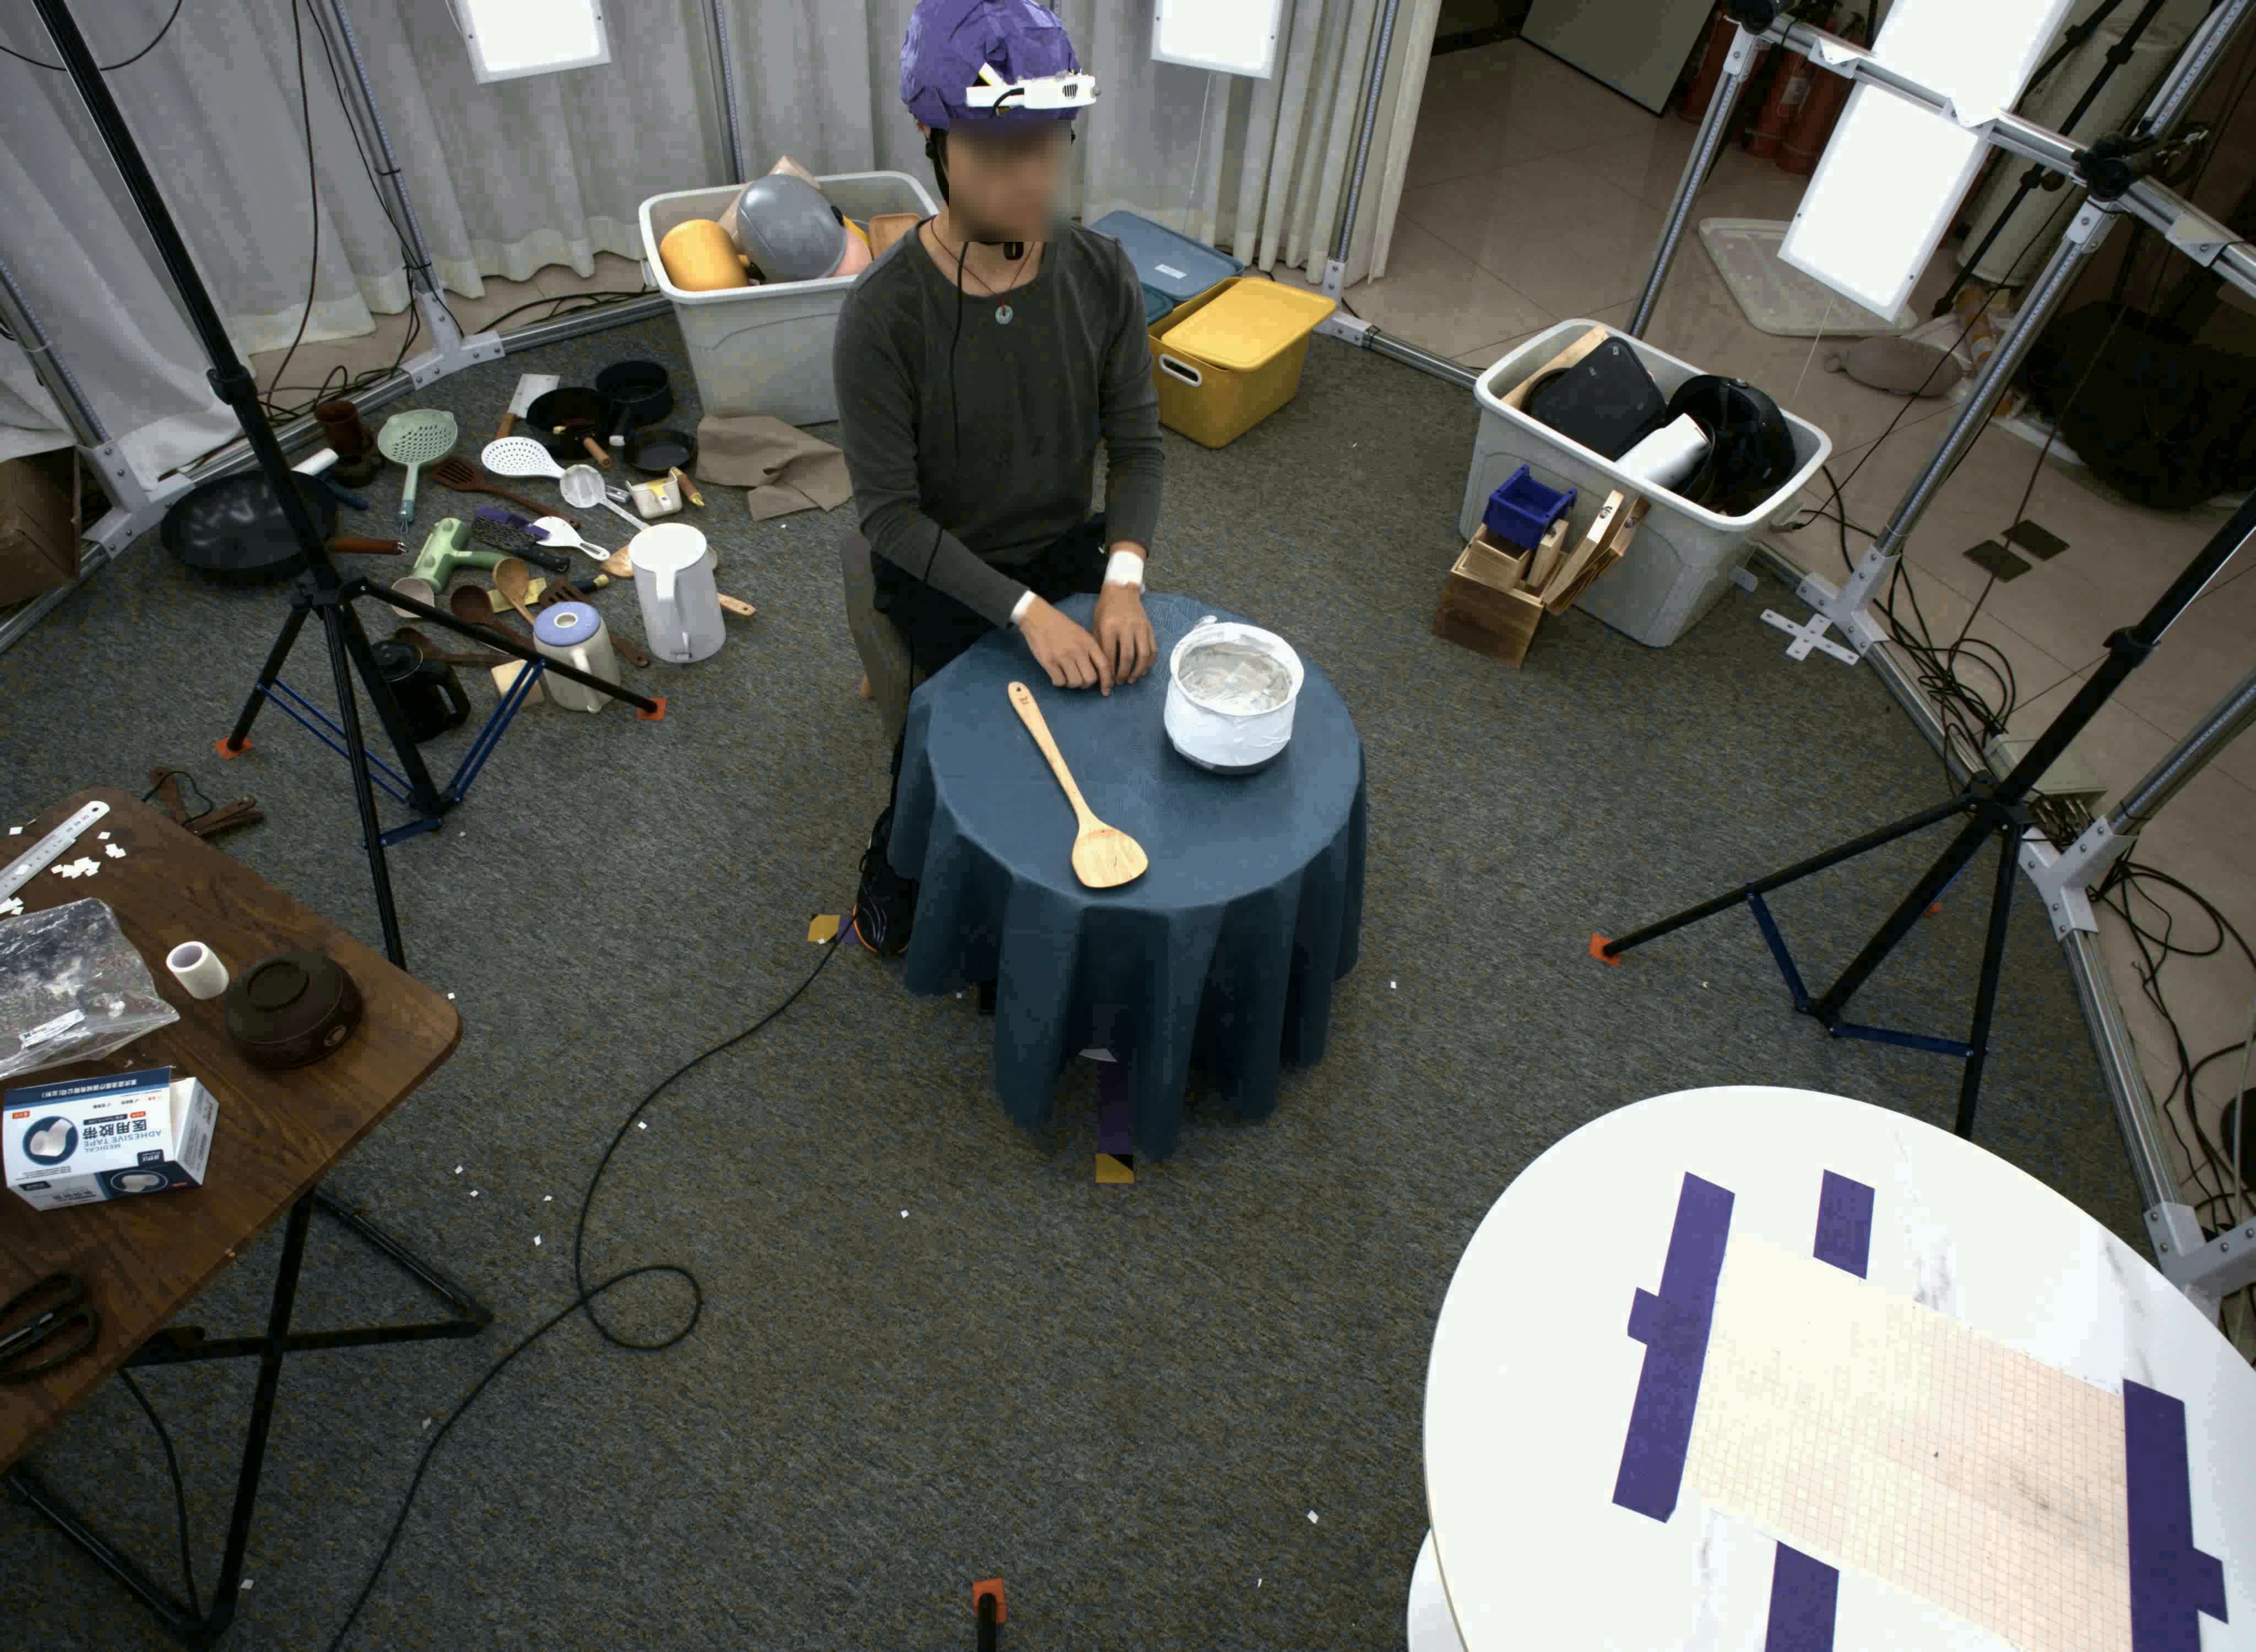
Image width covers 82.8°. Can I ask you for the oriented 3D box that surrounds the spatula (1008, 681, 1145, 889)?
[{"bbox_3d":[-0.090,-0.064,1.705,0.096,0.018,0.400,-15,52,-18],"label":"spatula"}]

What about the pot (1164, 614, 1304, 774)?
[{"bbox_3d":[0.131,-0.190,1.751,0.178,0.133,0.239,-12,51,-15],"label":"pot"}]
